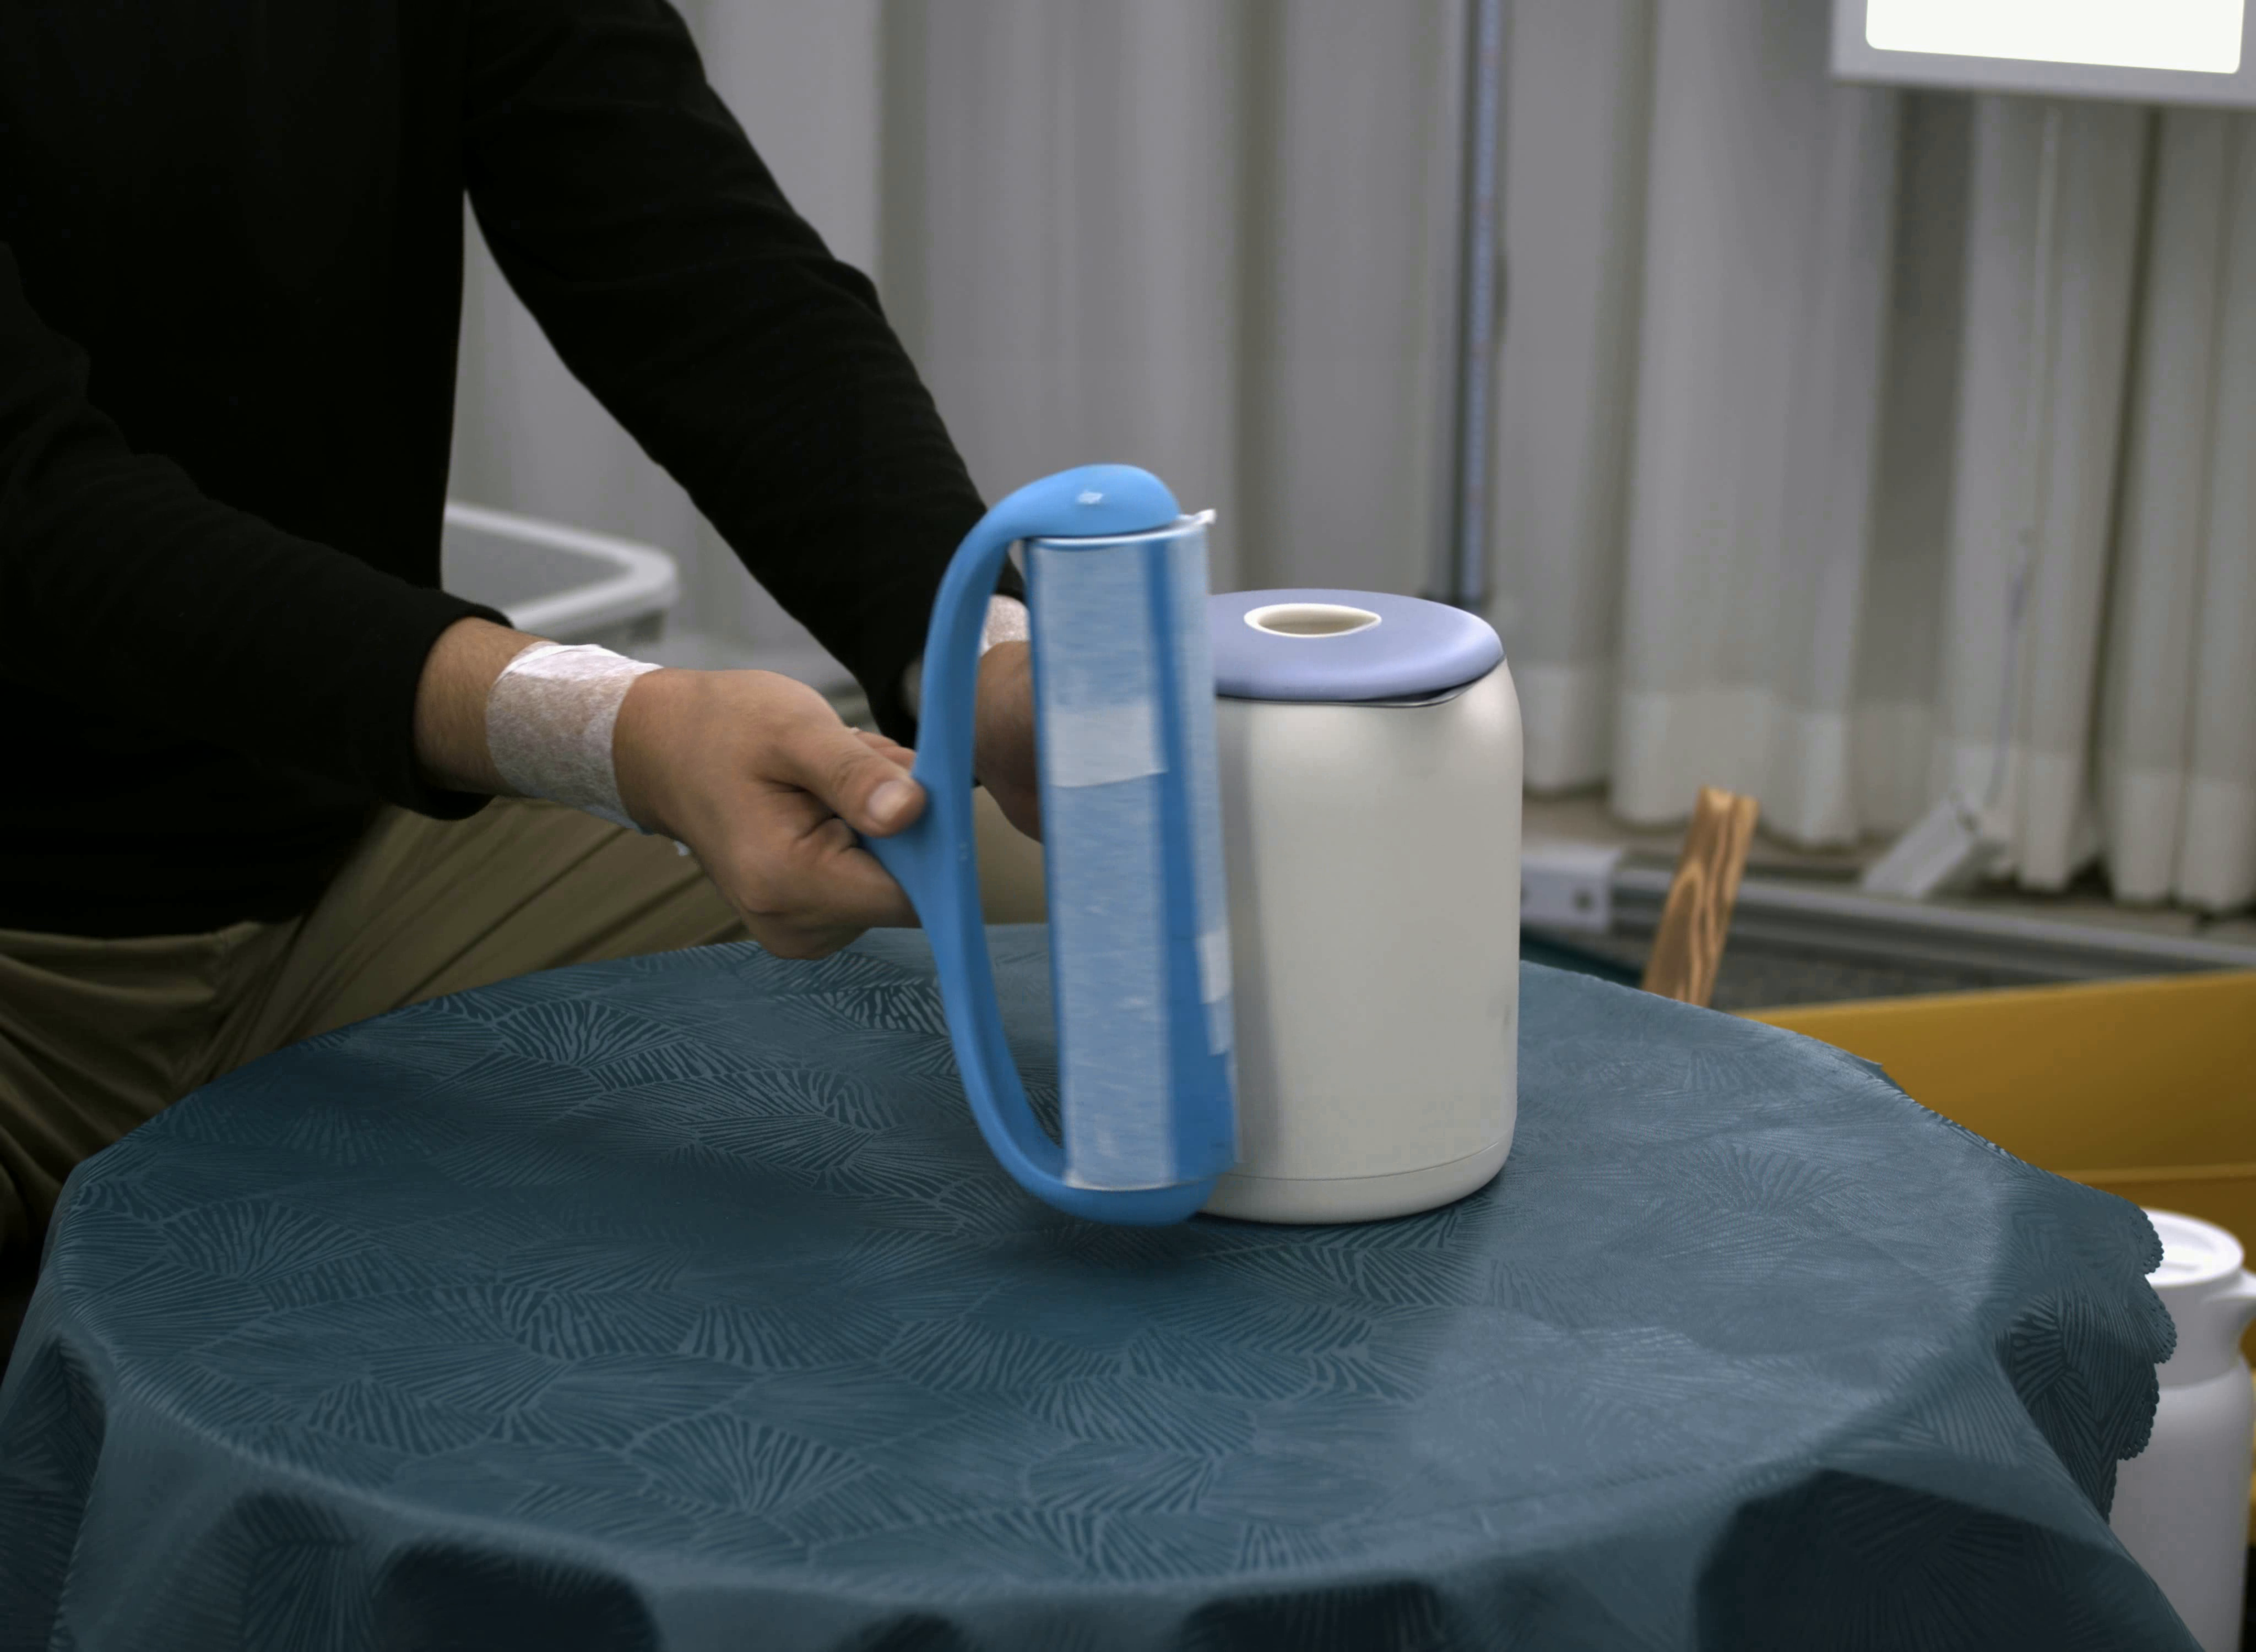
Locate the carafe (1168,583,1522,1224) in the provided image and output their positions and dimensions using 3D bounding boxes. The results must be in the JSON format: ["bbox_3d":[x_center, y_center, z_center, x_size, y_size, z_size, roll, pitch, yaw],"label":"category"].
[{"bbox_3d":[0.043,0.017,1.643,0.133,0.184,0.188,-9,16,-30],"label":"carafe"}]

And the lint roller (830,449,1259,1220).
[{"bbox_3d":[-0.040,0.002,1.578,0.178,0.230,0.068,4,16,40],"label":"lint roller"}]
